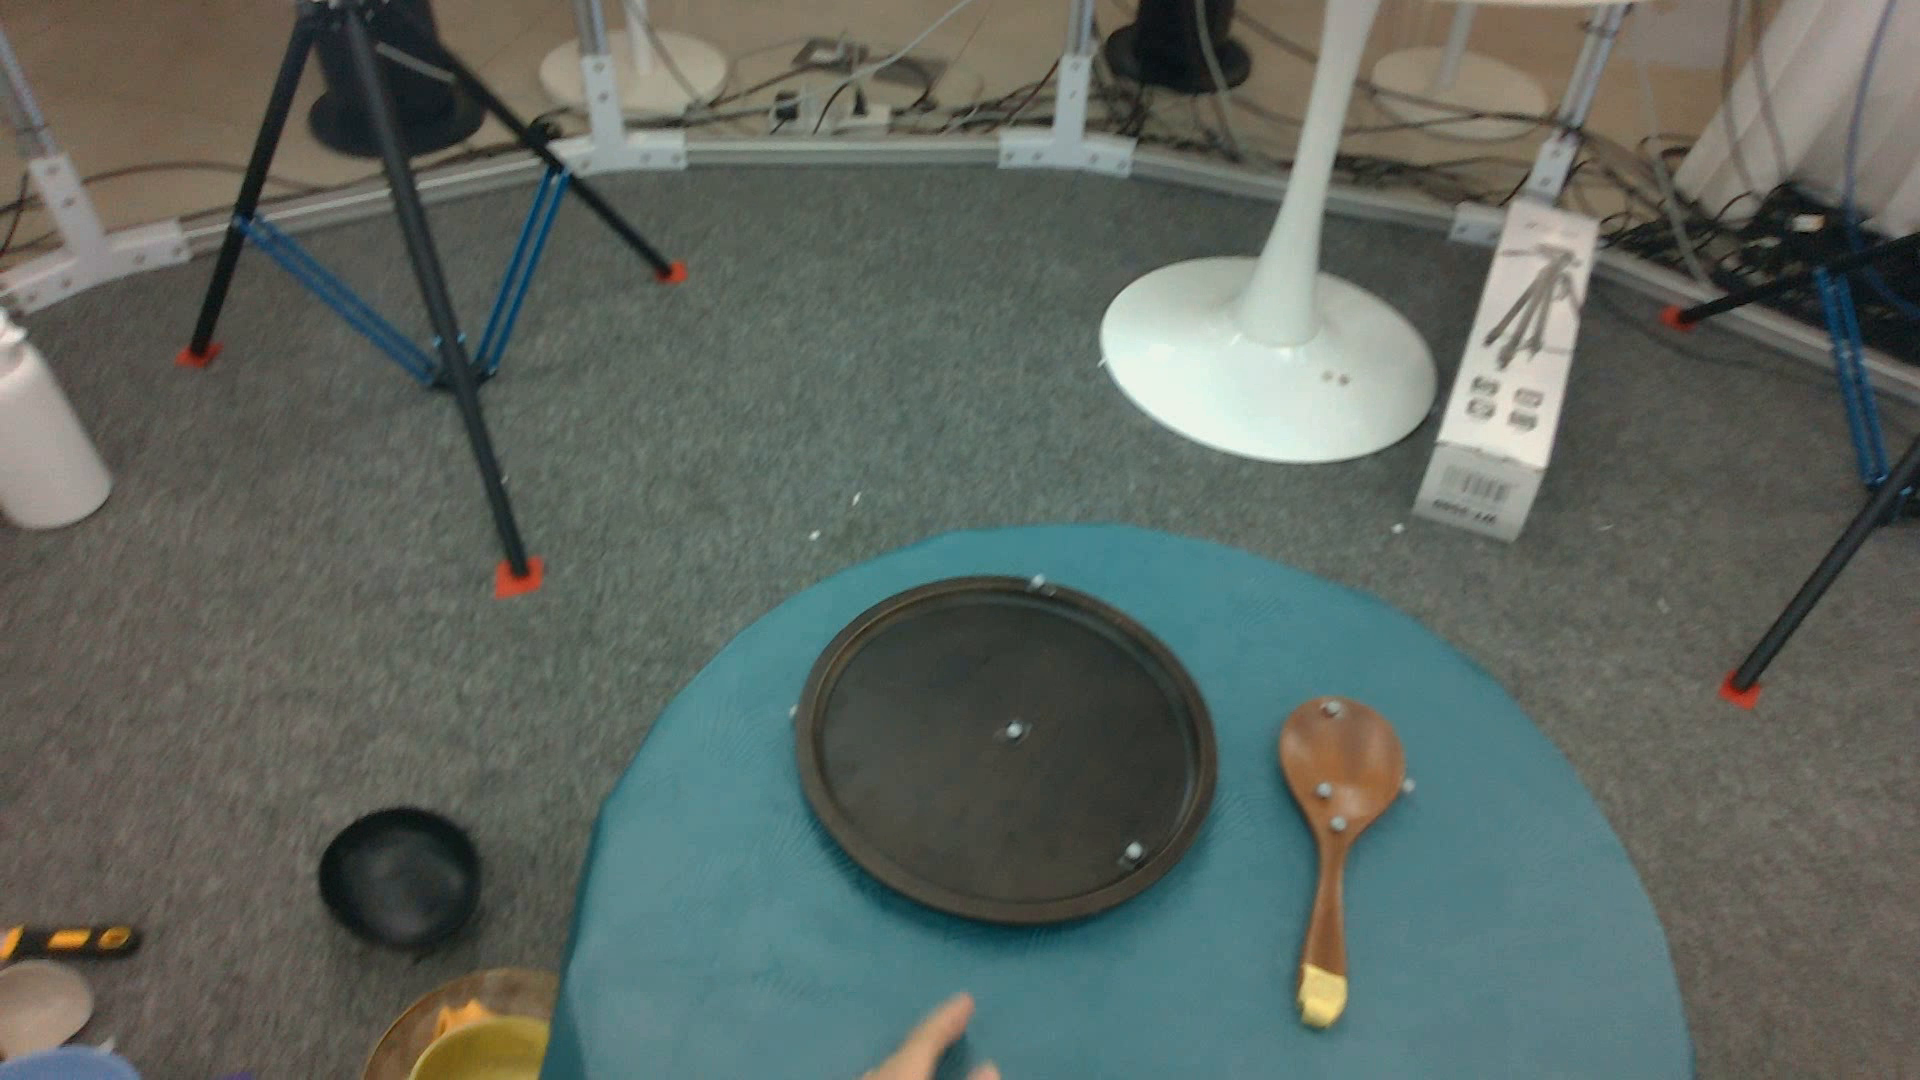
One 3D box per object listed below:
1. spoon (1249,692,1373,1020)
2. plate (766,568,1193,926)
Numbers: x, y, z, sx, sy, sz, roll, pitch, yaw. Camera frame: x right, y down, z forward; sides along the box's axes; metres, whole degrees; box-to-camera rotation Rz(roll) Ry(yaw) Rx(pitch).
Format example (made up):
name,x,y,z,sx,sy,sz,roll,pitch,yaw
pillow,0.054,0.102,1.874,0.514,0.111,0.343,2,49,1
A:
name,x,y,z,sx,sy,sz,roll,pitch,yaw
spoon,0.197,0.174,0.792,0.075,0.017,0.217,13,46,6
plate,0.012,0.117,0.825,0.255,0.029,0.256,2,45,-2
